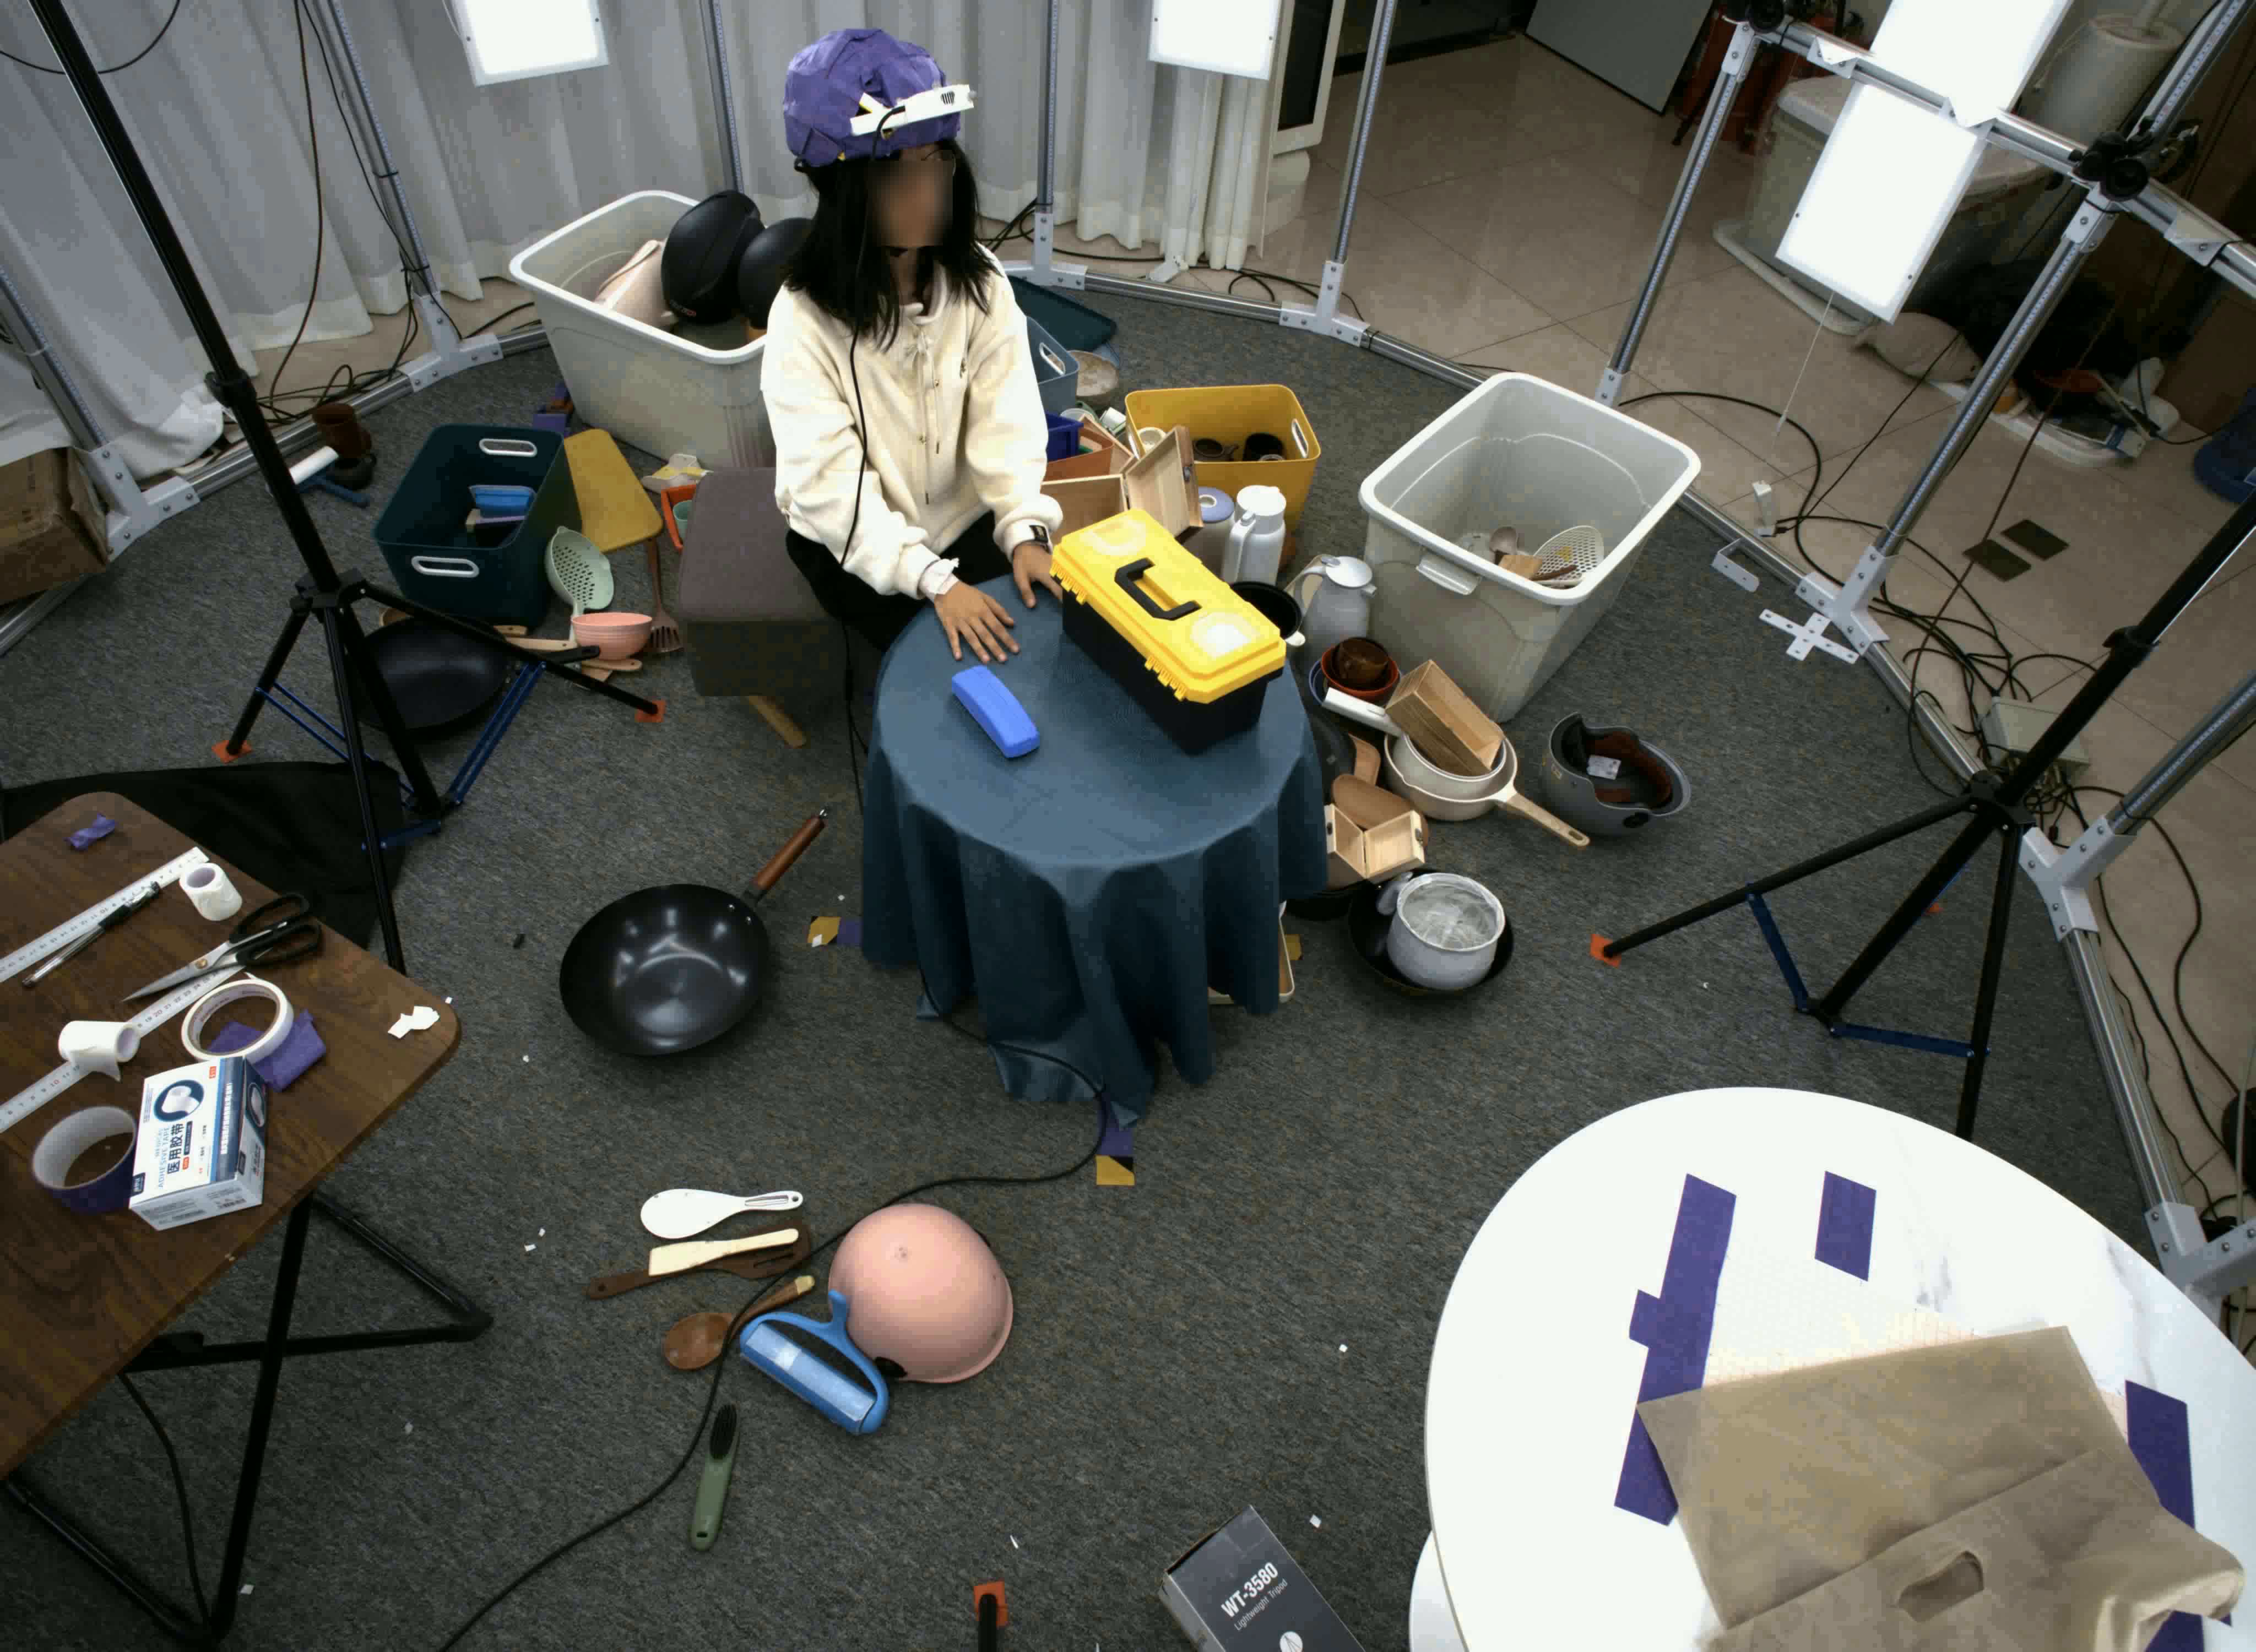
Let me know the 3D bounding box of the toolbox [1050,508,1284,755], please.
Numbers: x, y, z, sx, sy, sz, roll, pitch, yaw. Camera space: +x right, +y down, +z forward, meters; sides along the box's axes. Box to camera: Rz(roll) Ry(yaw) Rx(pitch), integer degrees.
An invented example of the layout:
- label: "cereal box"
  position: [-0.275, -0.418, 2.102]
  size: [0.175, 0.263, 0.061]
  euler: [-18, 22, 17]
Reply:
- label: "toolbox"
  position: [0.049, -0.275, 1.800]
  size: [0.182, 0.168, 0.358]
  euler: [-27, 56, -23]

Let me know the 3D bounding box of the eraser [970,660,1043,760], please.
- label: "eraser"
  position: [-0.168, -0.165, 1.769]
  size: [0.054, 0.046, 0.166]
  euler: [-18, 55, -16]
